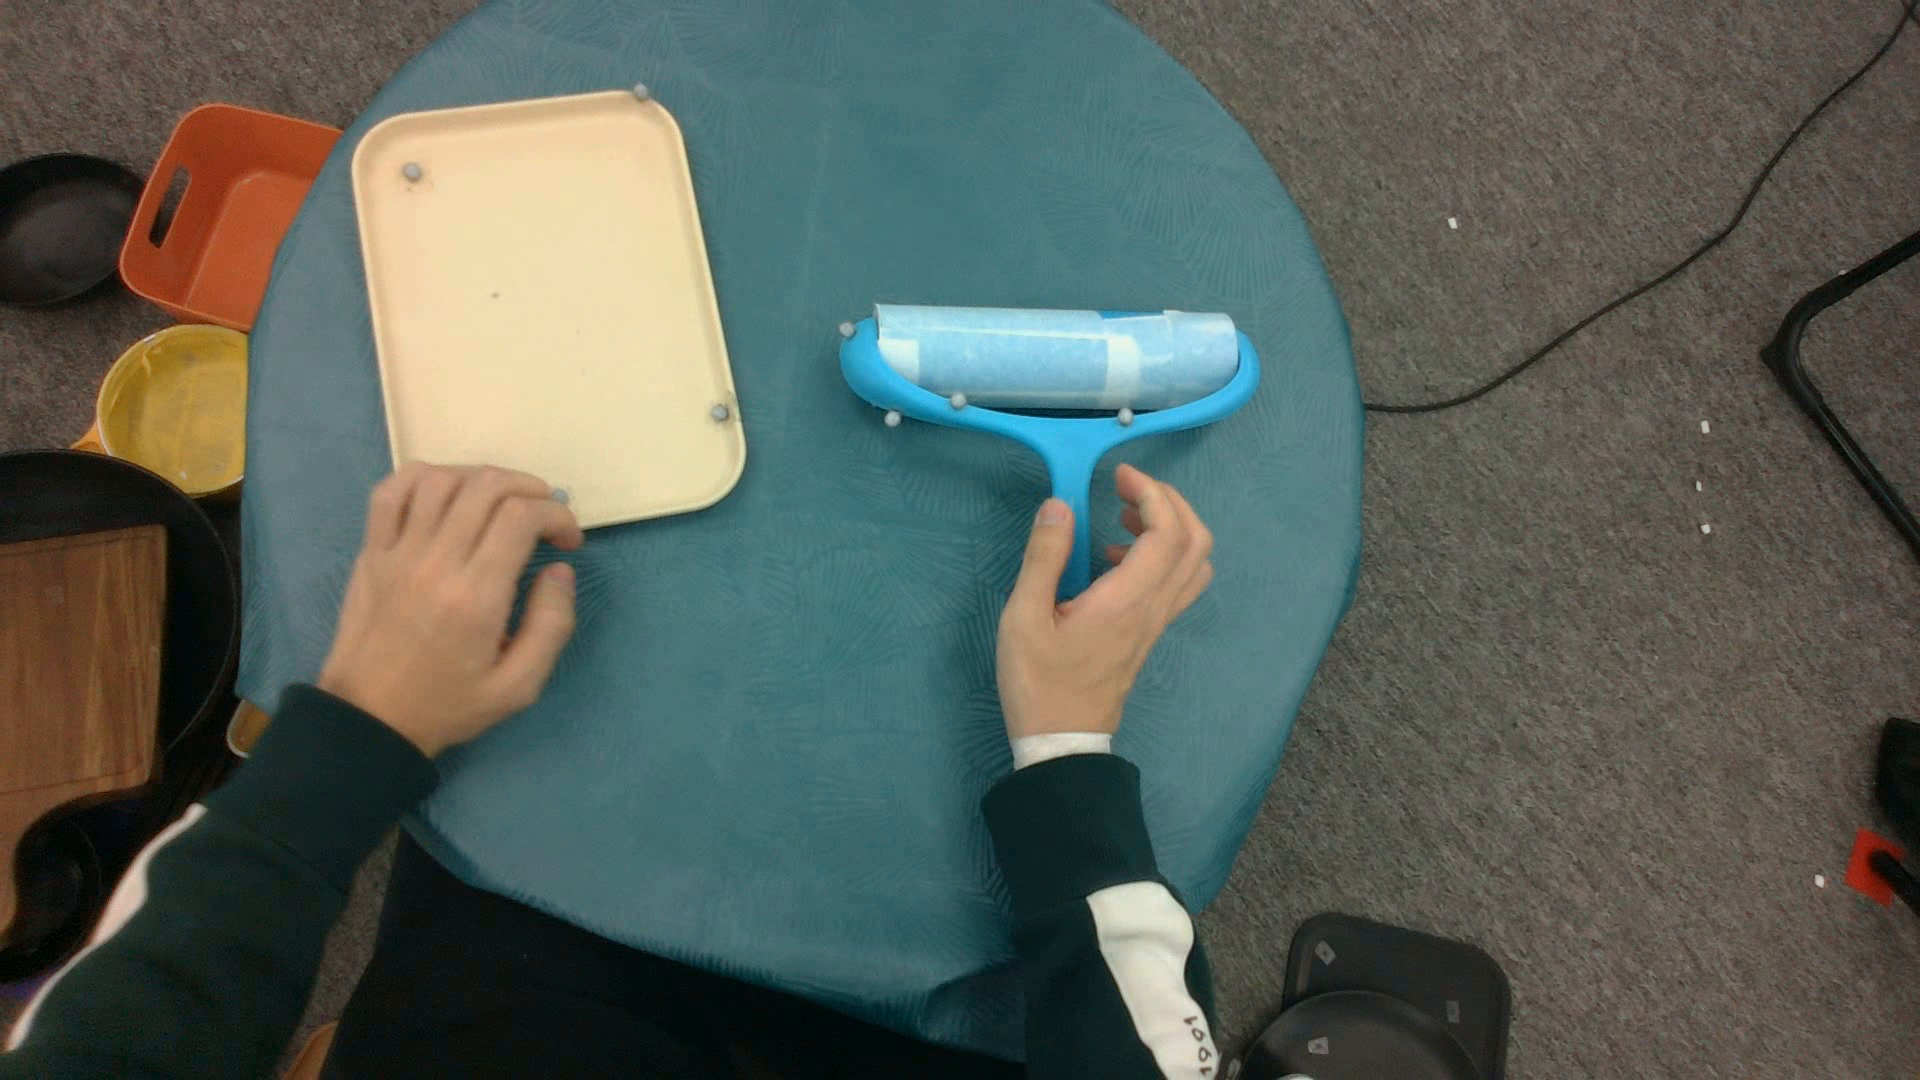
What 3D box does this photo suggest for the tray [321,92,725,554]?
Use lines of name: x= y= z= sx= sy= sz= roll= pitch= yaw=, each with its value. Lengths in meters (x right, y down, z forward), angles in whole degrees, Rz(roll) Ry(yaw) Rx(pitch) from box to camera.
tray: x=-0.227 y=-0.117 z=0.717 sx=0.171 sy=0.017 sz=0.240 roll=-12 pitch=78 yaw=-12

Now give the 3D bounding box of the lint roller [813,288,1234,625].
lint roller: x=0.043 y=-0.049 z=0.726 sx=0.229 sy=0.067 sz=0.180 roll=-5 pitch=75 yaw=-12
